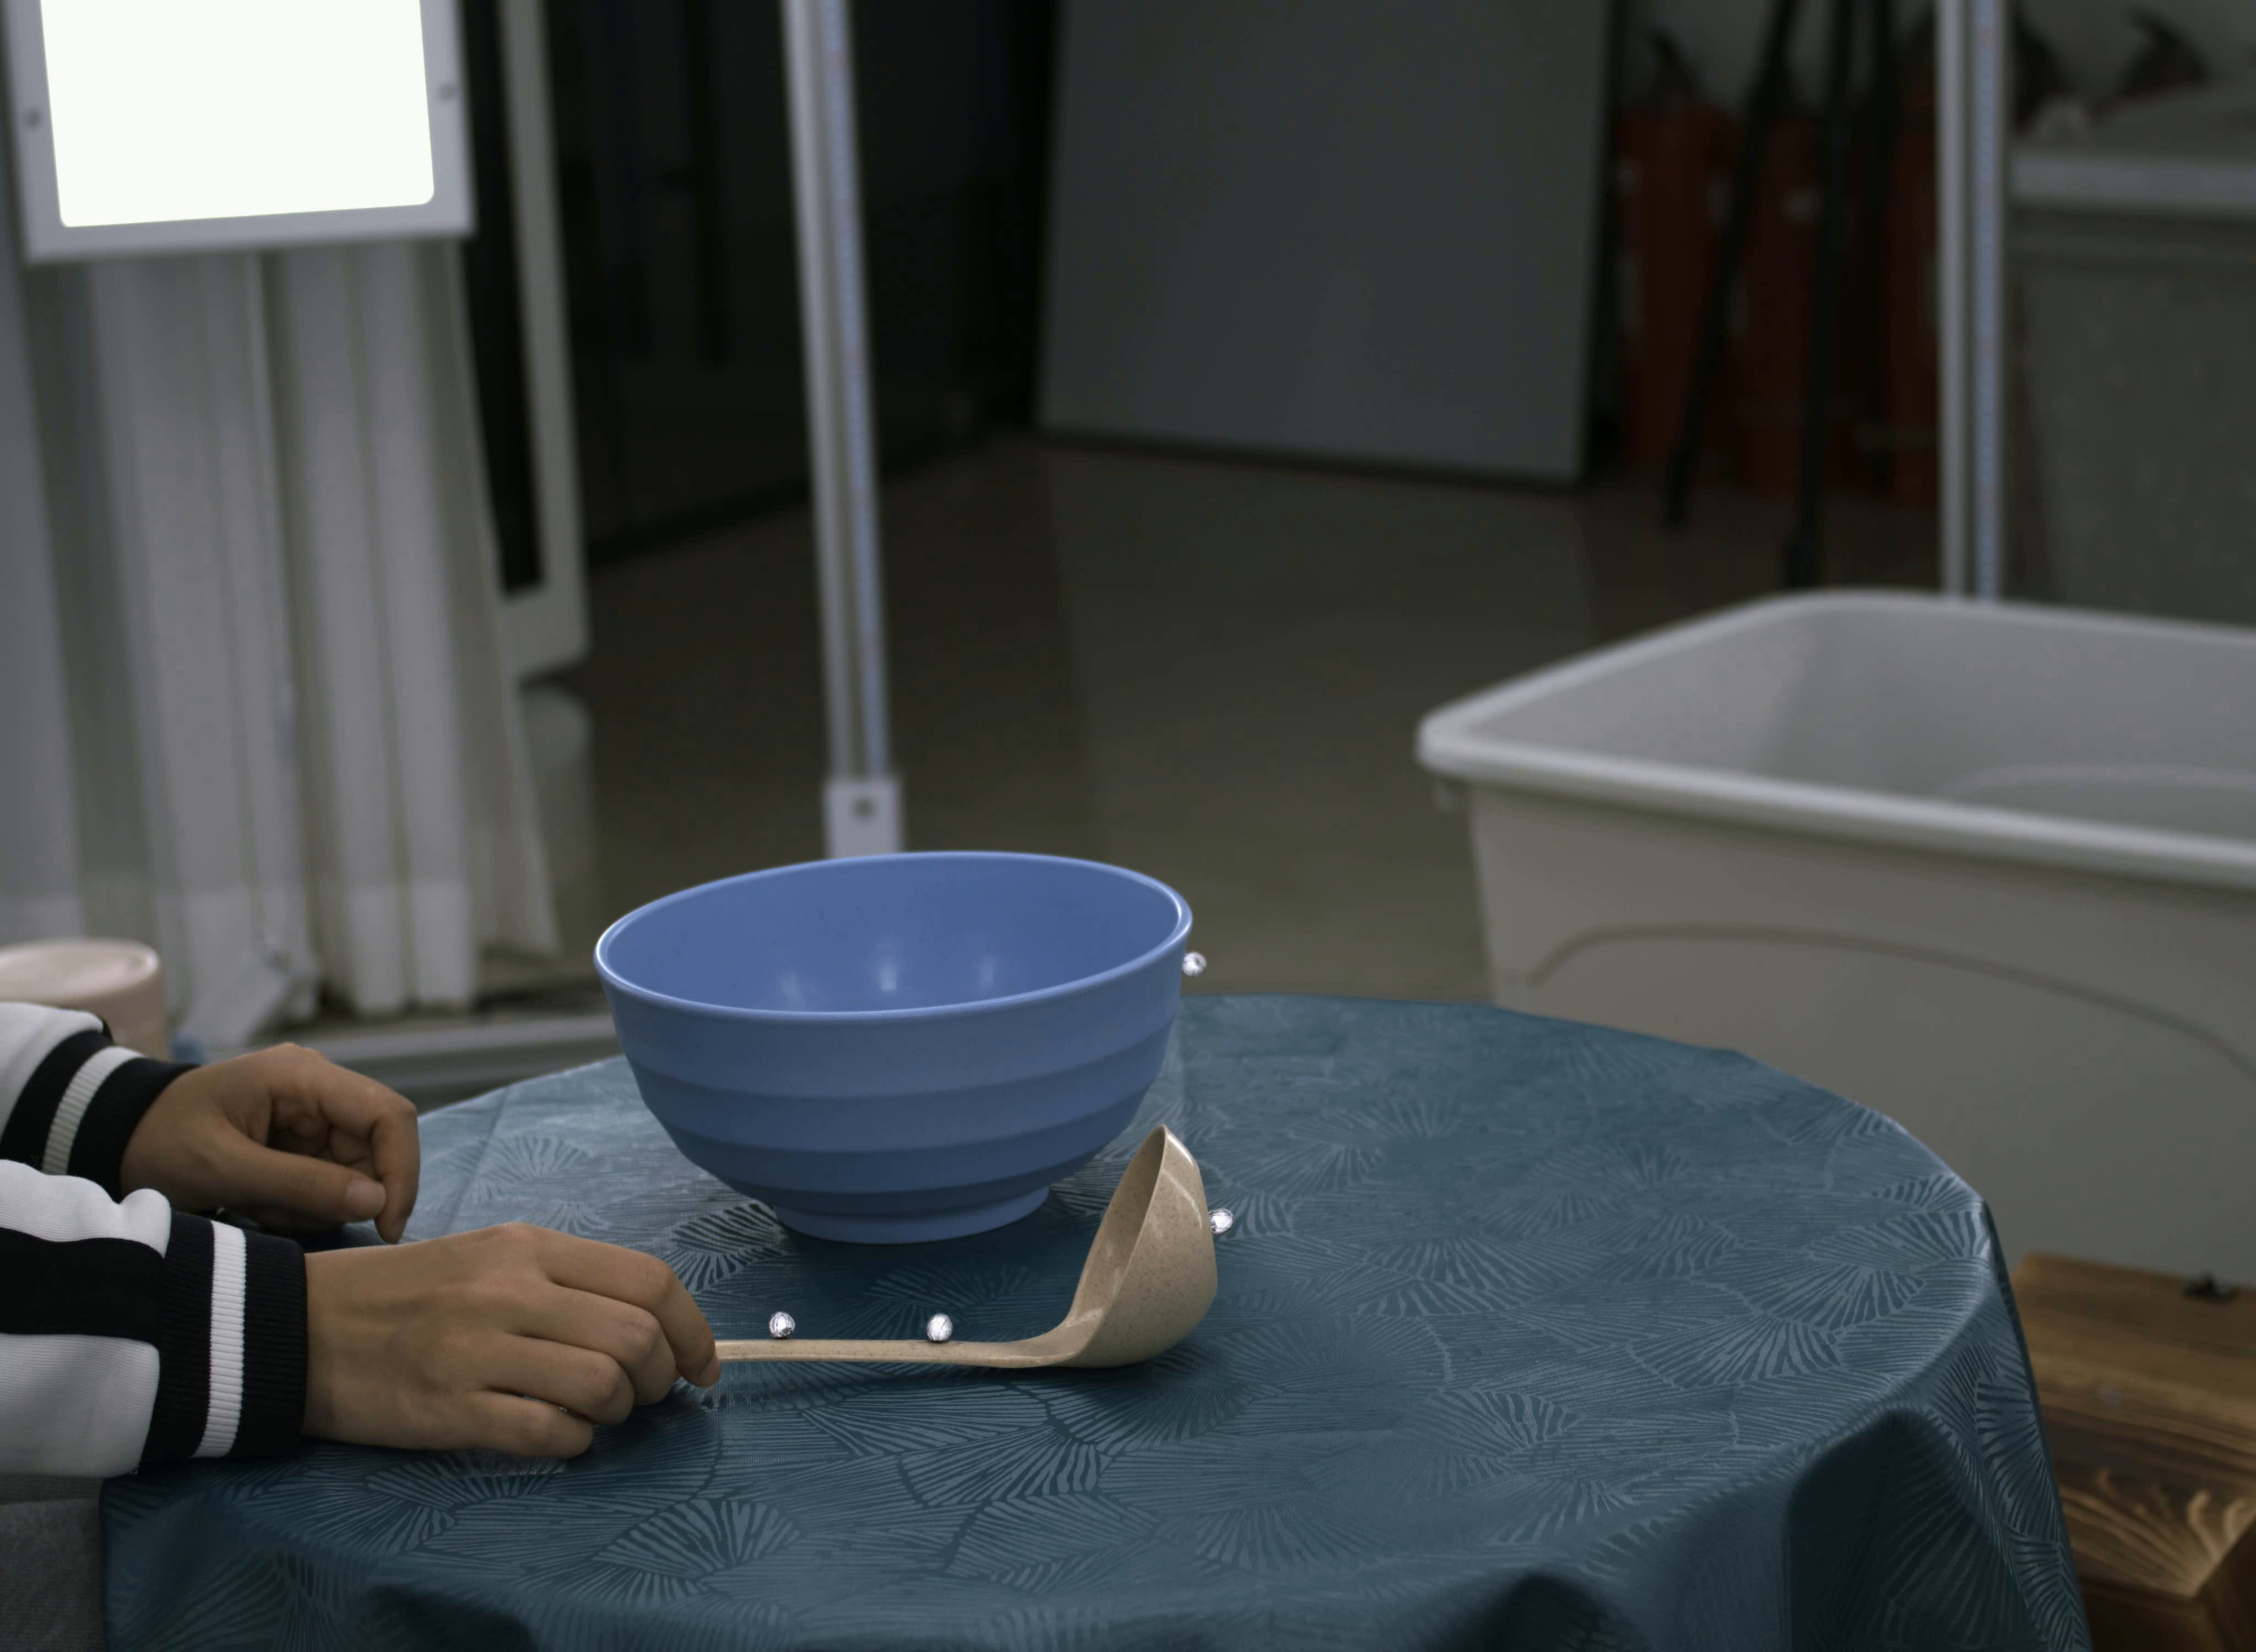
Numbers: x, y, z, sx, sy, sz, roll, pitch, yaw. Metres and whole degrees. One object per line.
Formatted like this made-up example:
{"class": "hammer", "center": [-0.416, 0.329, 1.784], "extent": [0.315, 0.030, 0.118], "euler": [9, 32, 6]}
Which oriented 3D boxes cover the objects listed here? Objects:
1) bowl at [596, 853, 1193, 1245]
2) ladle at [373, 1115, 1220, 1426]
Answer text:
{"class": "bowl", "center": [-0.075, 0.078, 1.765], "extent": [0.194, 0.096, 0.197], "euler": [-2, 13, -1]}
{"class": "ladle", "center": [-0.099, 0.131, 1.597], "extent": [0.250, 0.073, 0.072], "euler": [-4, 8, -5]}
